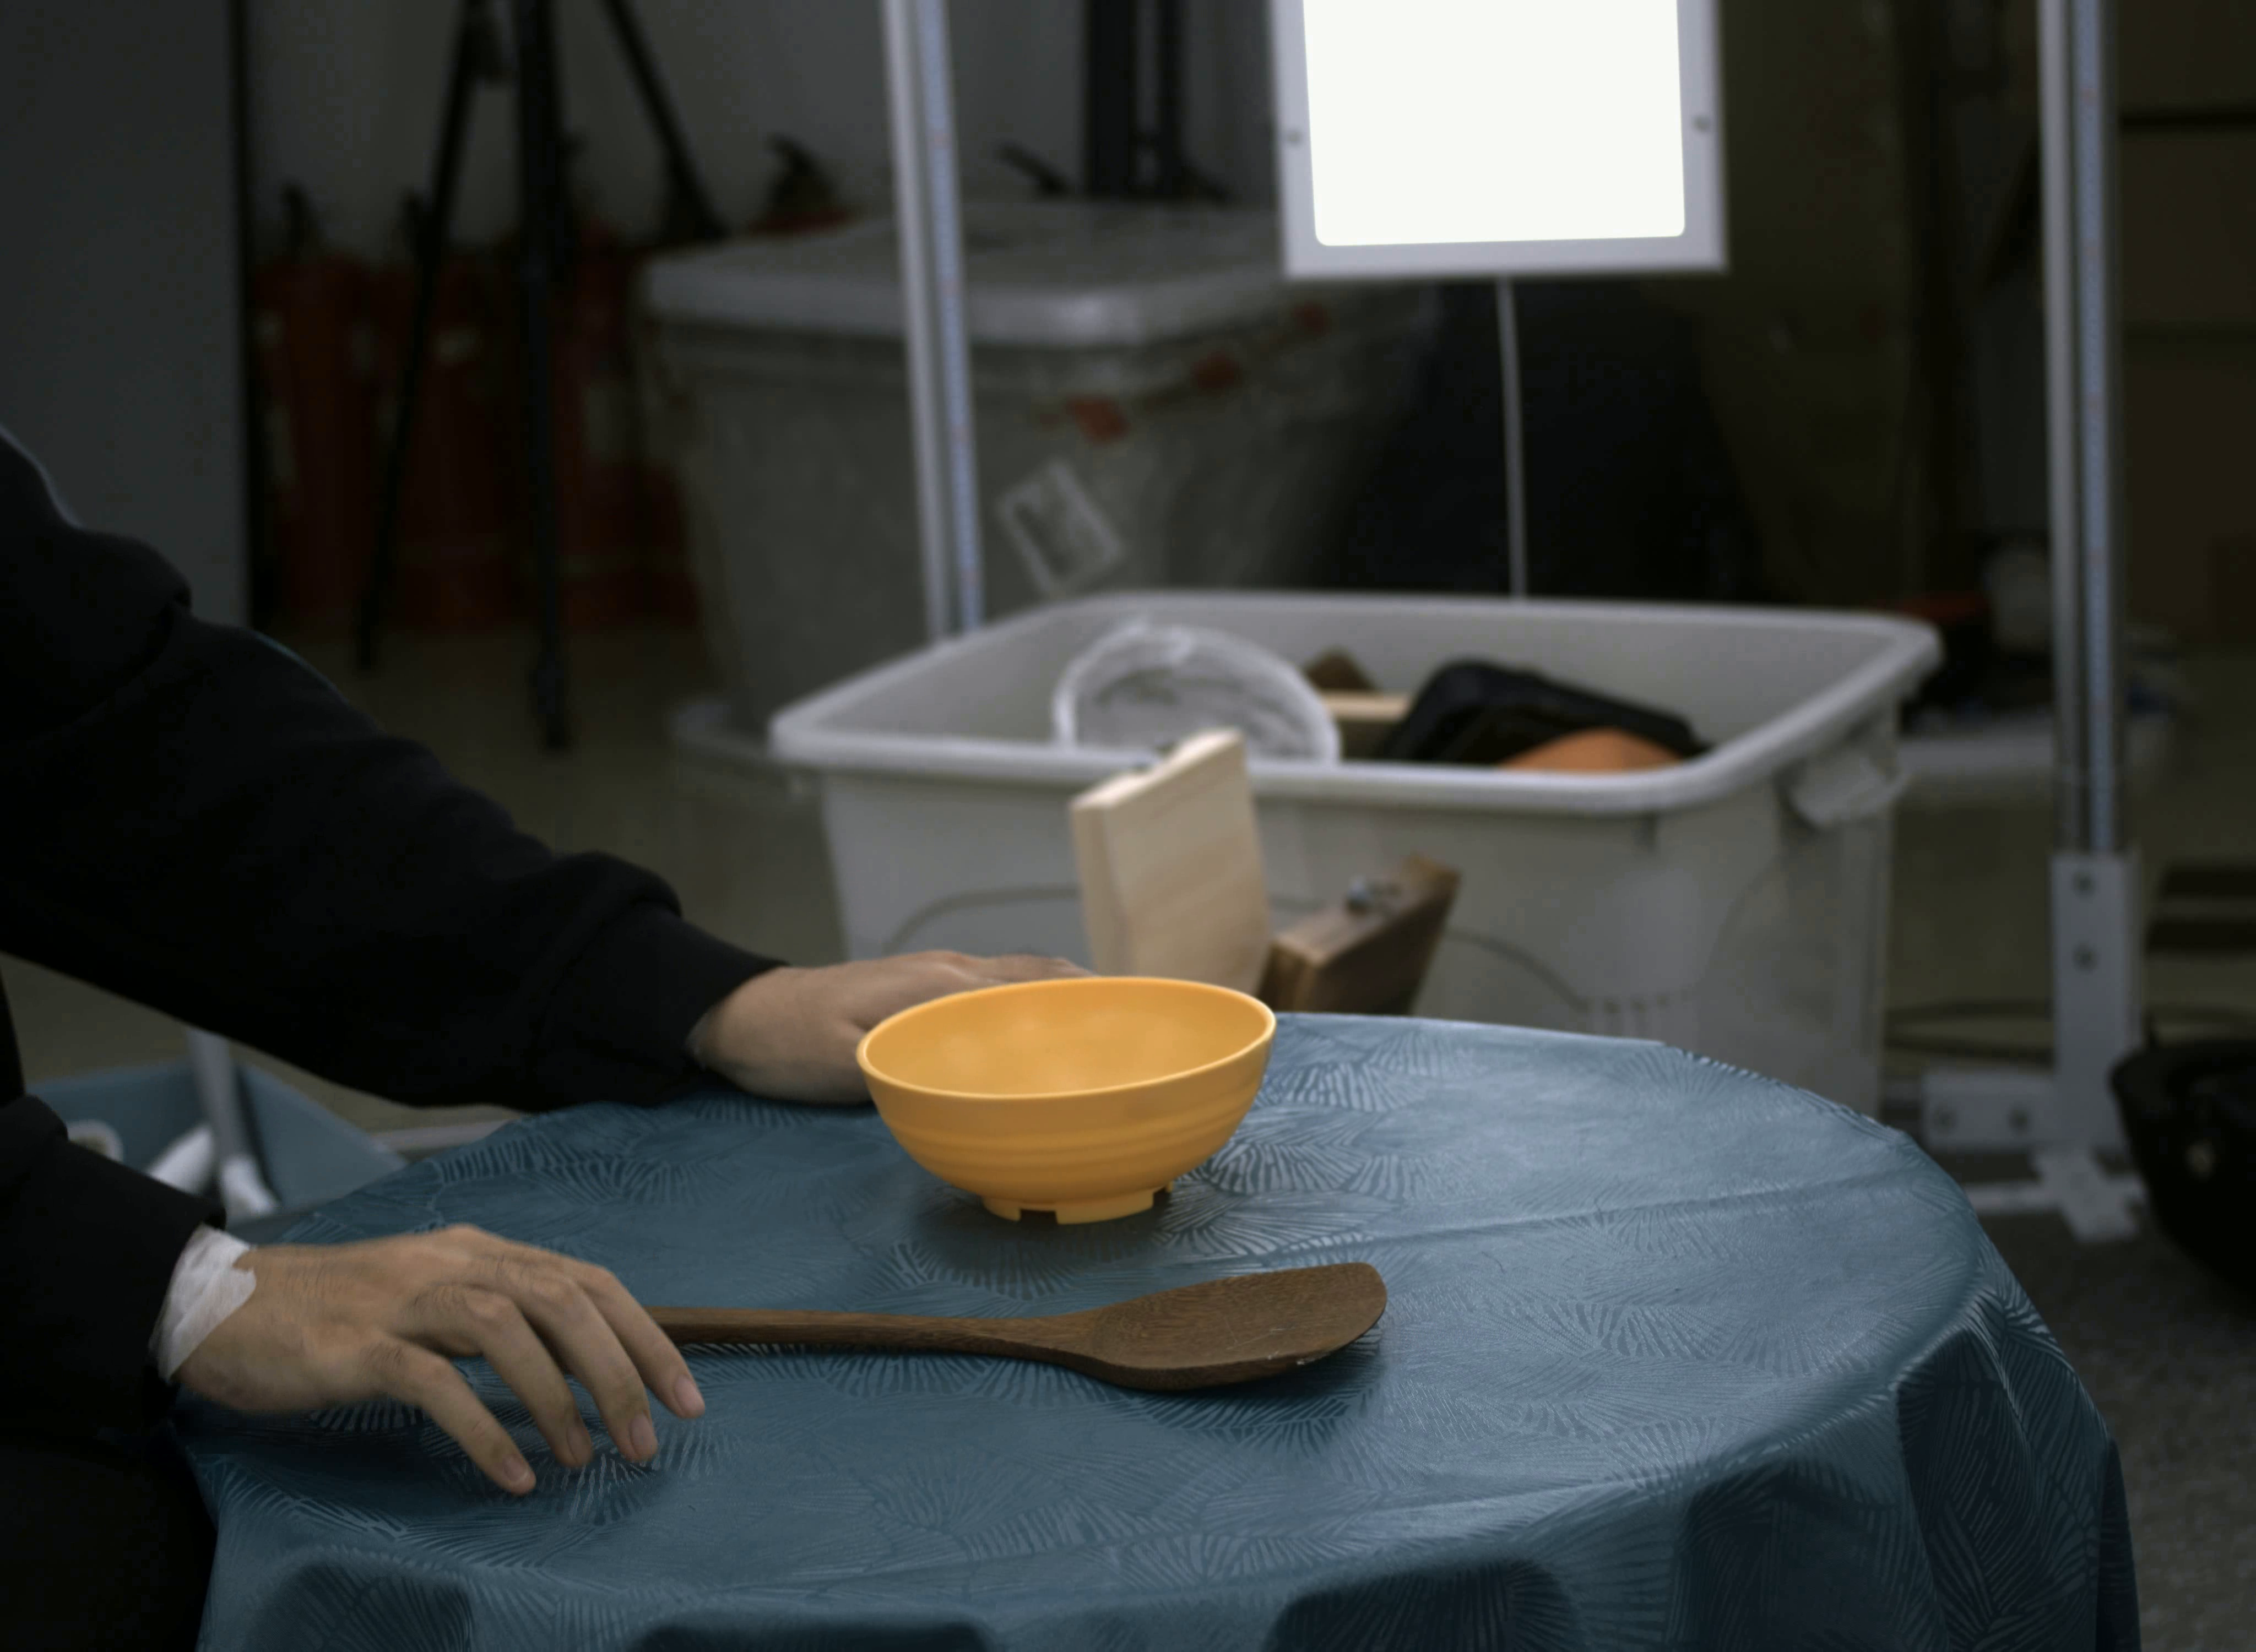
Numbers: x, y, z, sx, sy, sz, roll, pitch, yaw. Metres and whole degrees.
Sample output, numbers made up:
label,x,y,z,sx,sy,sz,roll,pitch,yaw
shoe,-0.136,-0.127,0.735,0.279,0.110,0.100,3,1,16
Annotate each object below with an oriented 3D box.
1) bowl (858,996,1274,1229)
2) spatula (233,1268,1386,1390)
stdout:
label,x,y,z,sx,sy,sz,roll,pitch,yaw
bowl,-0.019,0.102,1.892,0.145,0.060,0.145,-5,11,0
spatula,-0.107,0.161,1.768,0.390,0.016,0.095,-1,14,16
